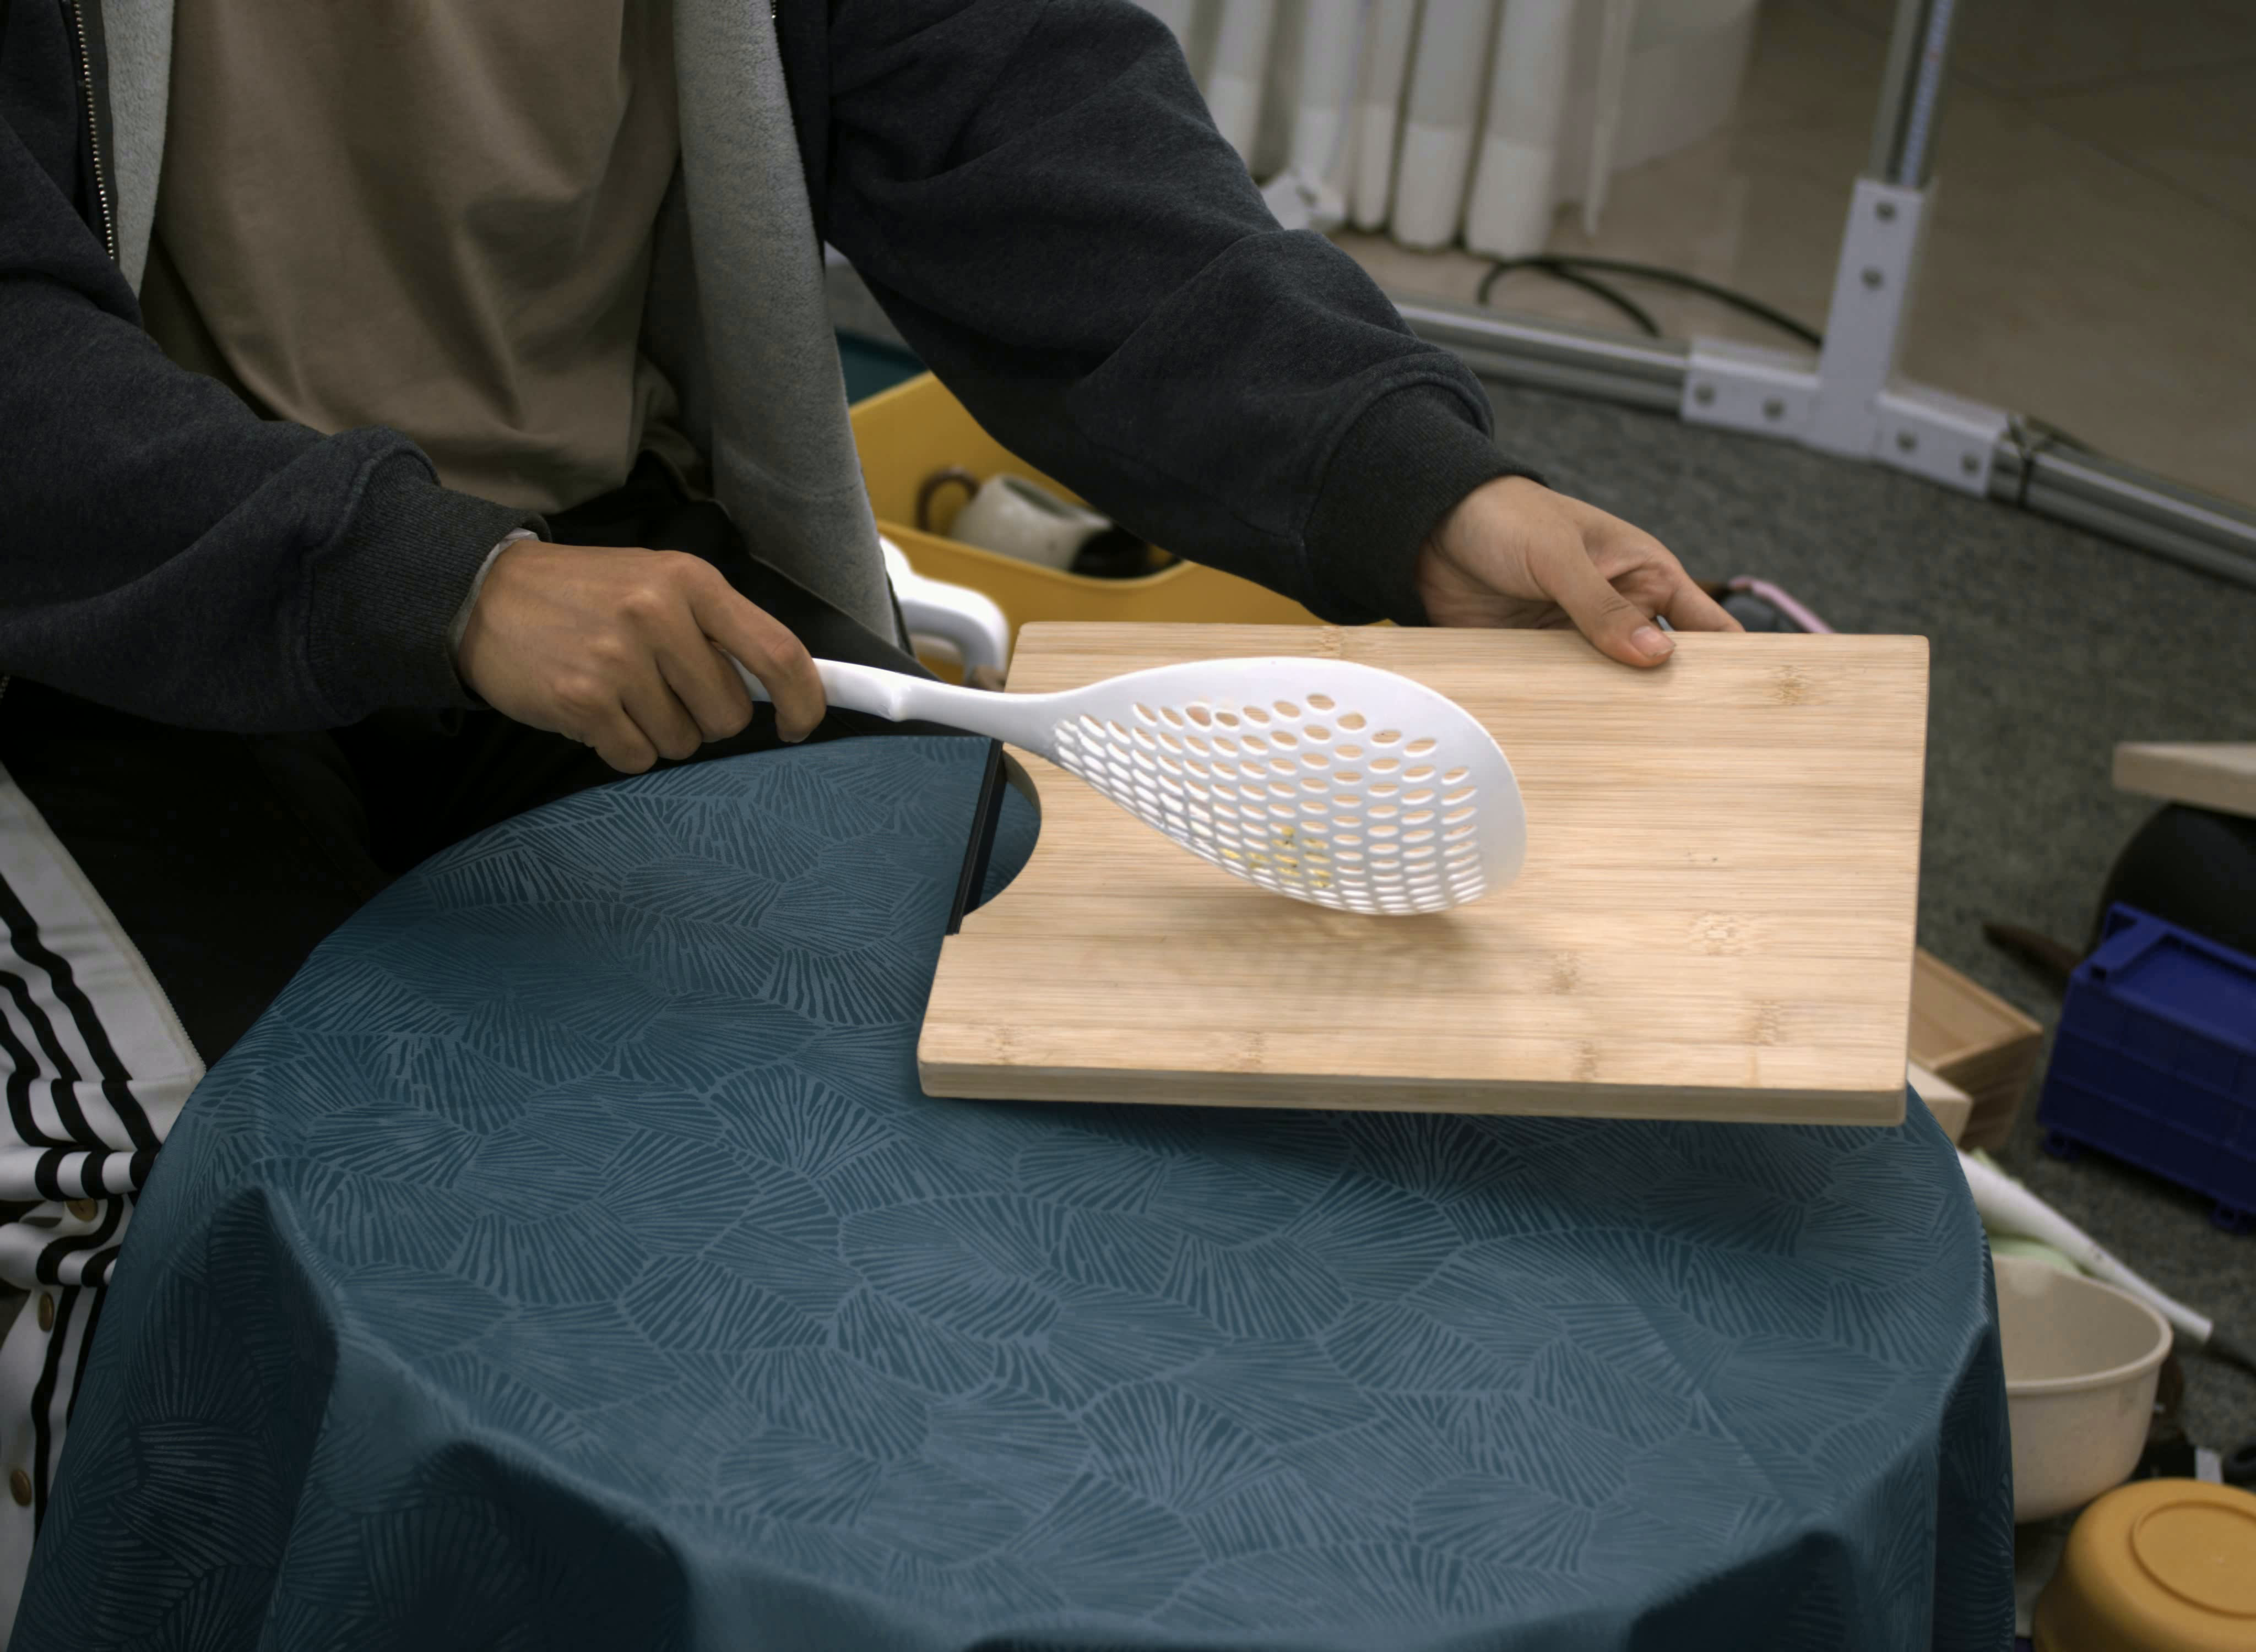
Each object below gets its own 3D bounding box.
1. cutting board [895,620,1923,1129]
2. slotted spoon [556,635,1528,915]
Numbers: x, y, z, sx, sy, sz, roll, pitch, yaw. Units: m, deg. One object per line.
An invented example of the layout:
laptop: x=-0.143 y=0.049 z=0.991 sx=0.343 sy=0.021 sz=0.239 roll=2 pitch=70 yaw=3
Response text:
cutting board: x=0.106 y=0.012 z=1.898 sx=0.348 sy=0.023 sz=0.252 roll=0 pitch=41 yaw=10
slotted spoon: x=-0.032 y=-0.030 z=1.844 sx=0.349 sy=0.136 sz=0.050 roll=16 pitch=58 yaw=18
